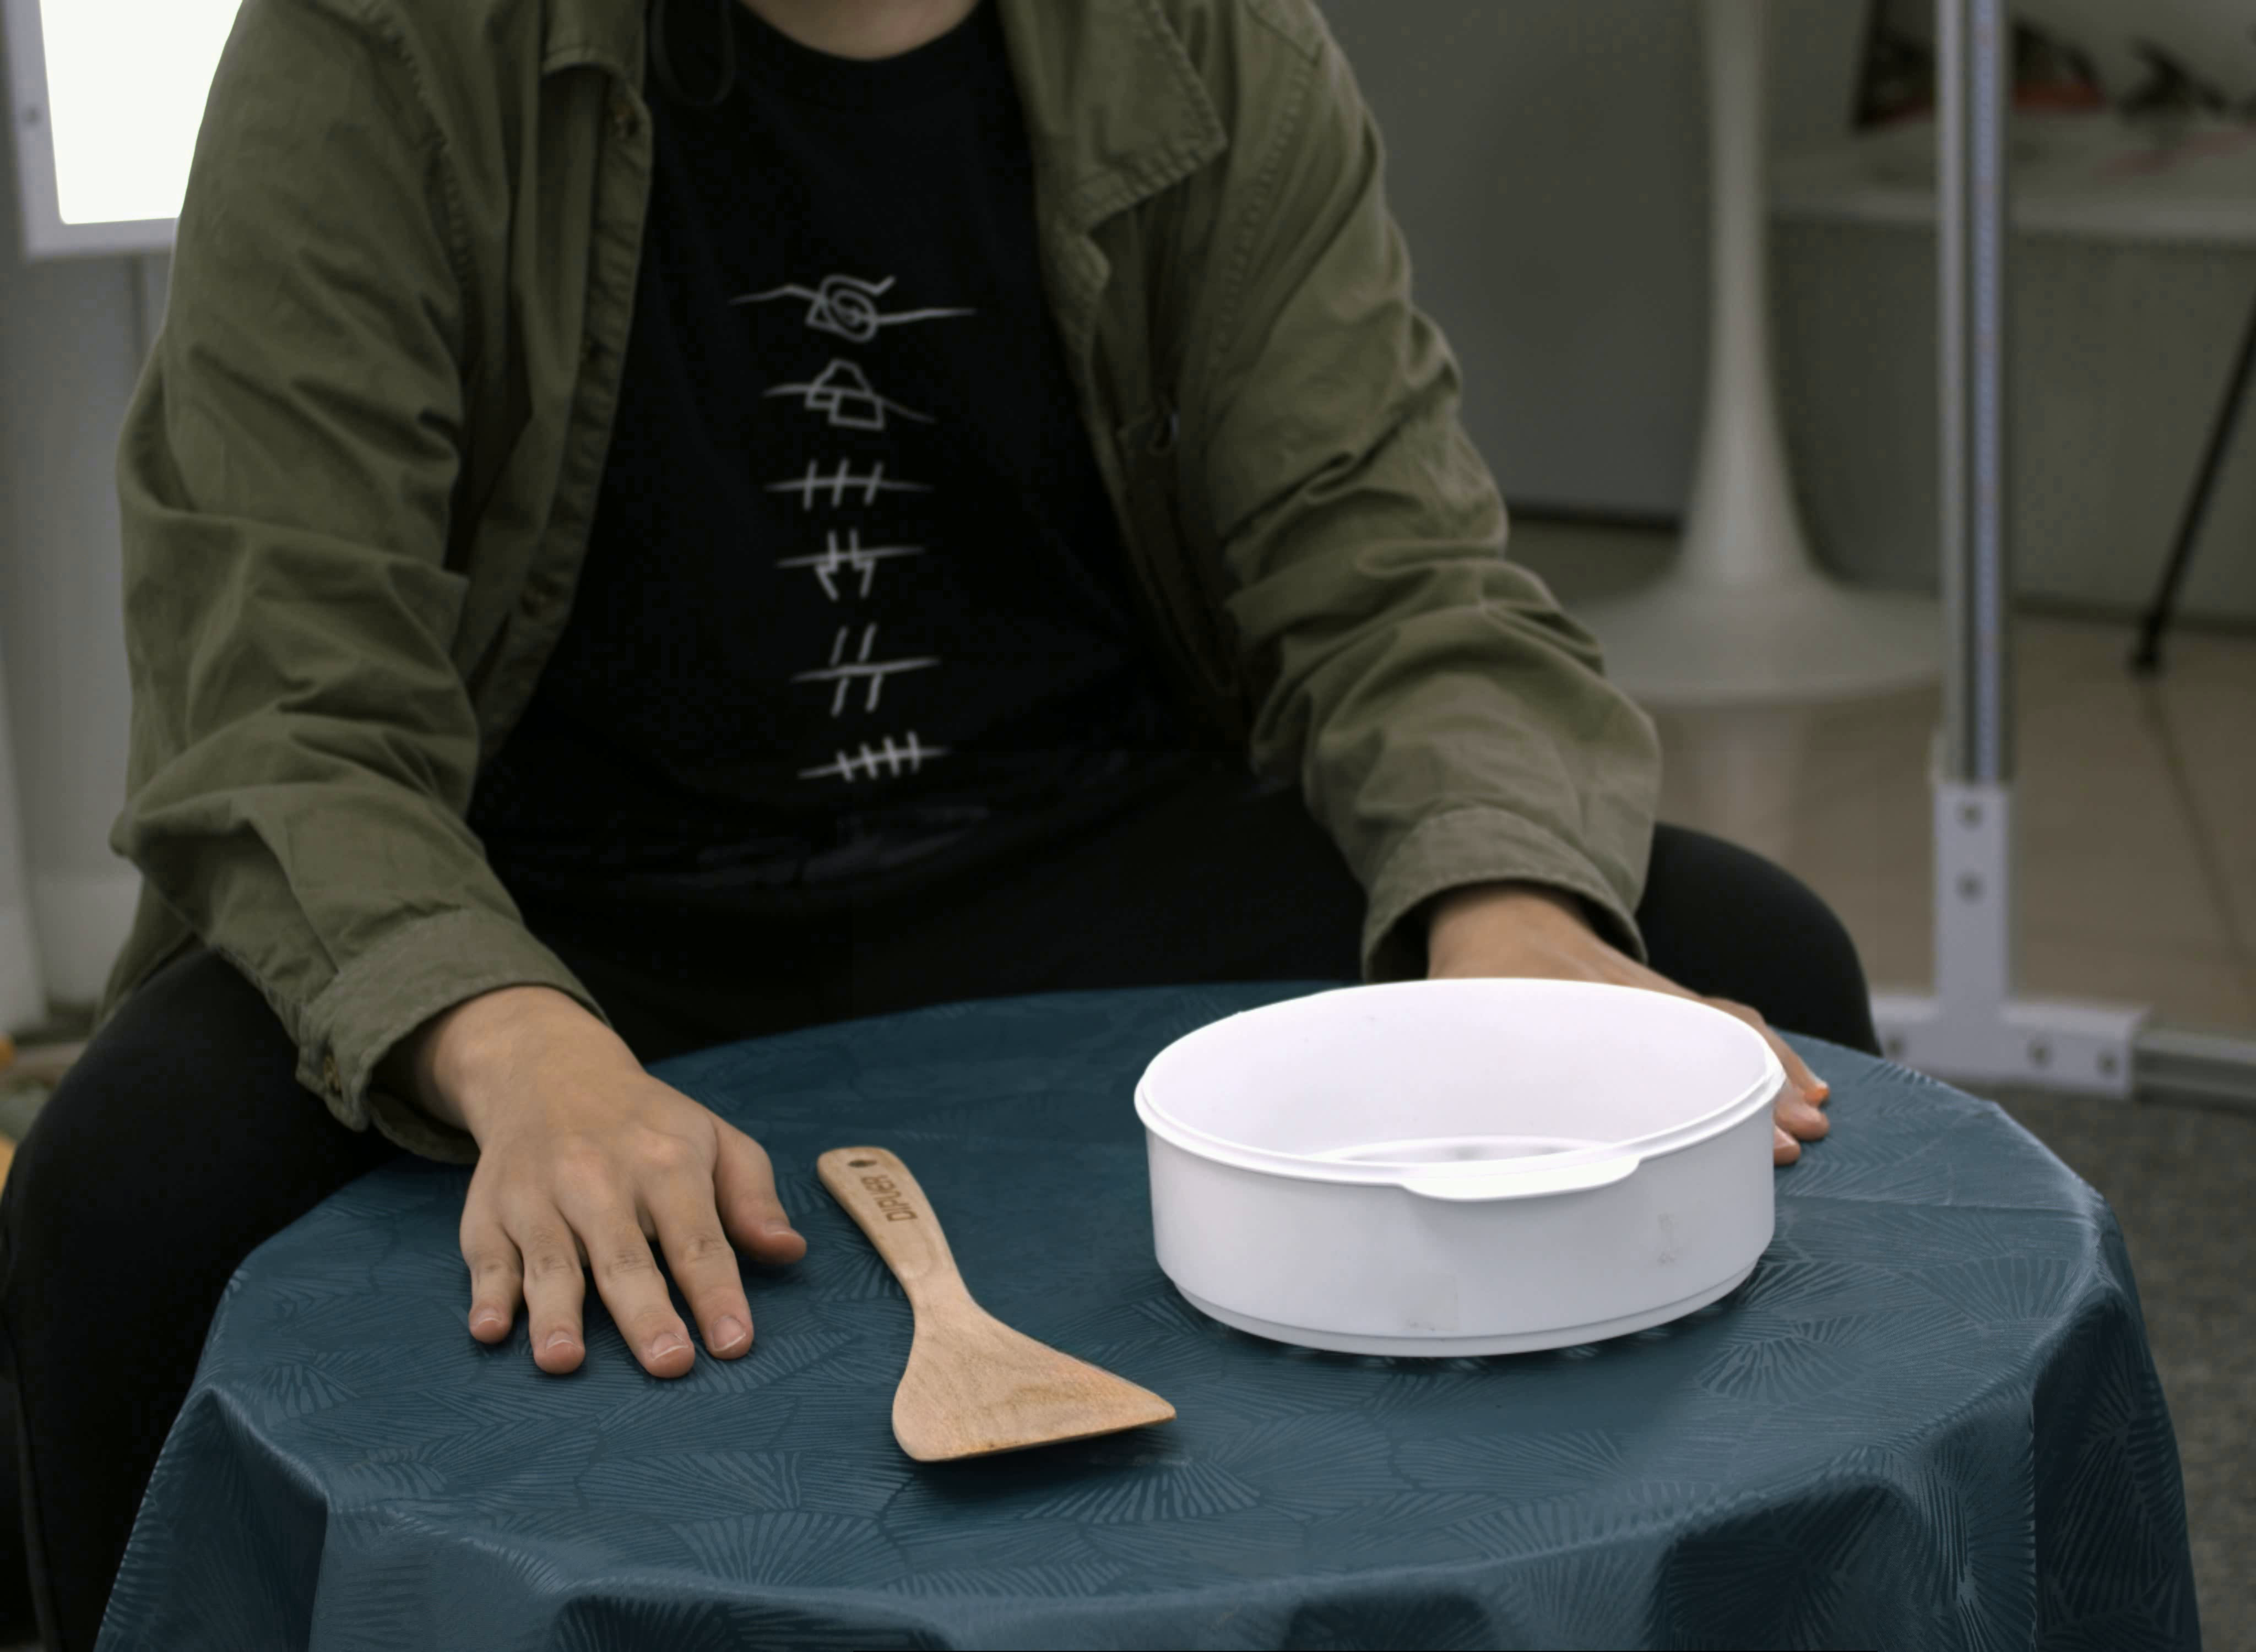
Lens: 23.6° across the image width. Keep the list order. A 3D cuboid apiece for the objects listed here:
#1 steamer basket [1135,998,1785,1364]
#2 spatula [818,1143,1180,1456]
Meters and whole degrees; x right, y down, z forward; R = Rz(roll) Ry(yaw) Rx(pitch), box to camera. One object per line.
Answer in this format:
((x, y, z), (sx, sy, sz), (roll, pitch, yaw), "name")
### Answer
((0.103, 0.109, 1.656), (0.198, 0.070, 0.231), (-5, 12, -6), "steamer basket")
((-0.055, 0.141, 1.667), (0.078, 0.017, 0.330), (-7, 14, -12), "spatula")
